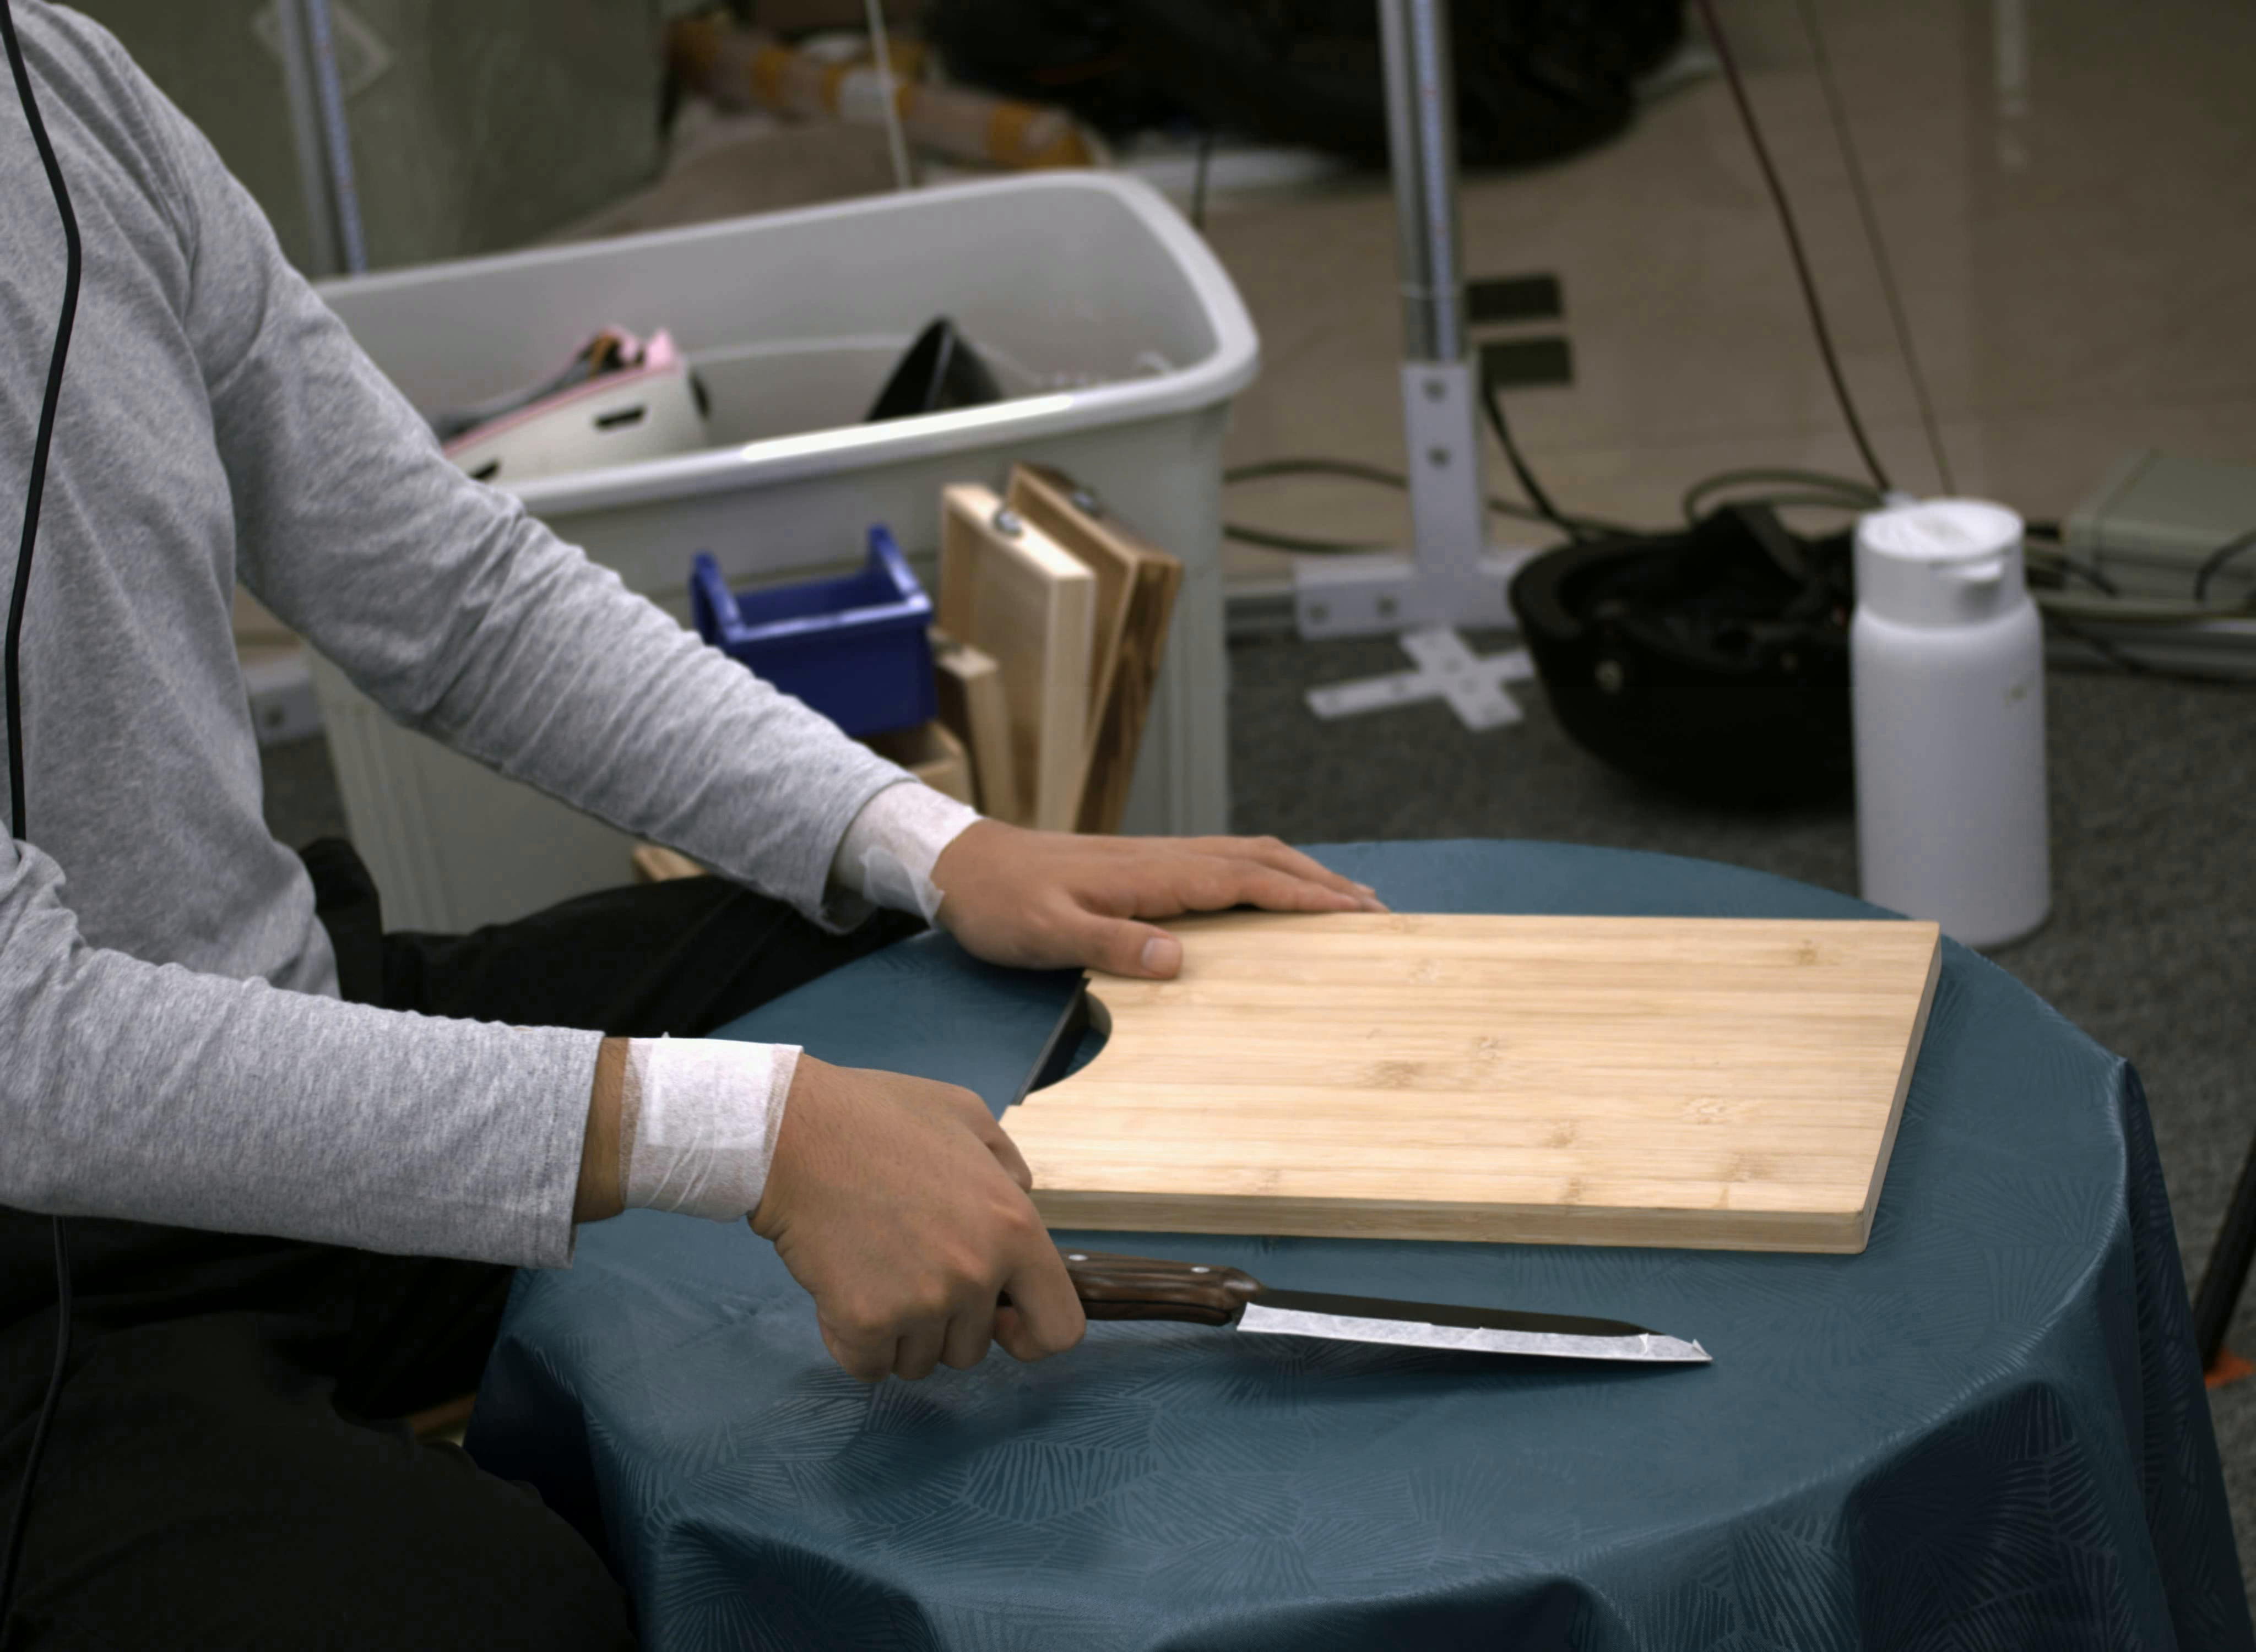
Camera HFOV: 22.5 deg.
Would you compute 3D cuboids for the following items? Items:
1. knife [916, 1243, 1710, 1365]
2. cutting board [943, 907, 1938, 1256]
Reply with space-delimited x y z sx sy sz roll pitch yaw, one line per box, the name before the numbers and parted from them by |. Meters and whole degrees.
knife | 0.063 0.173 2.021 0.288 0.020 0.050 5 18 10
cutting board | 0.126 0.095 2.197 0.348 0.024 0.247 1 25 15
